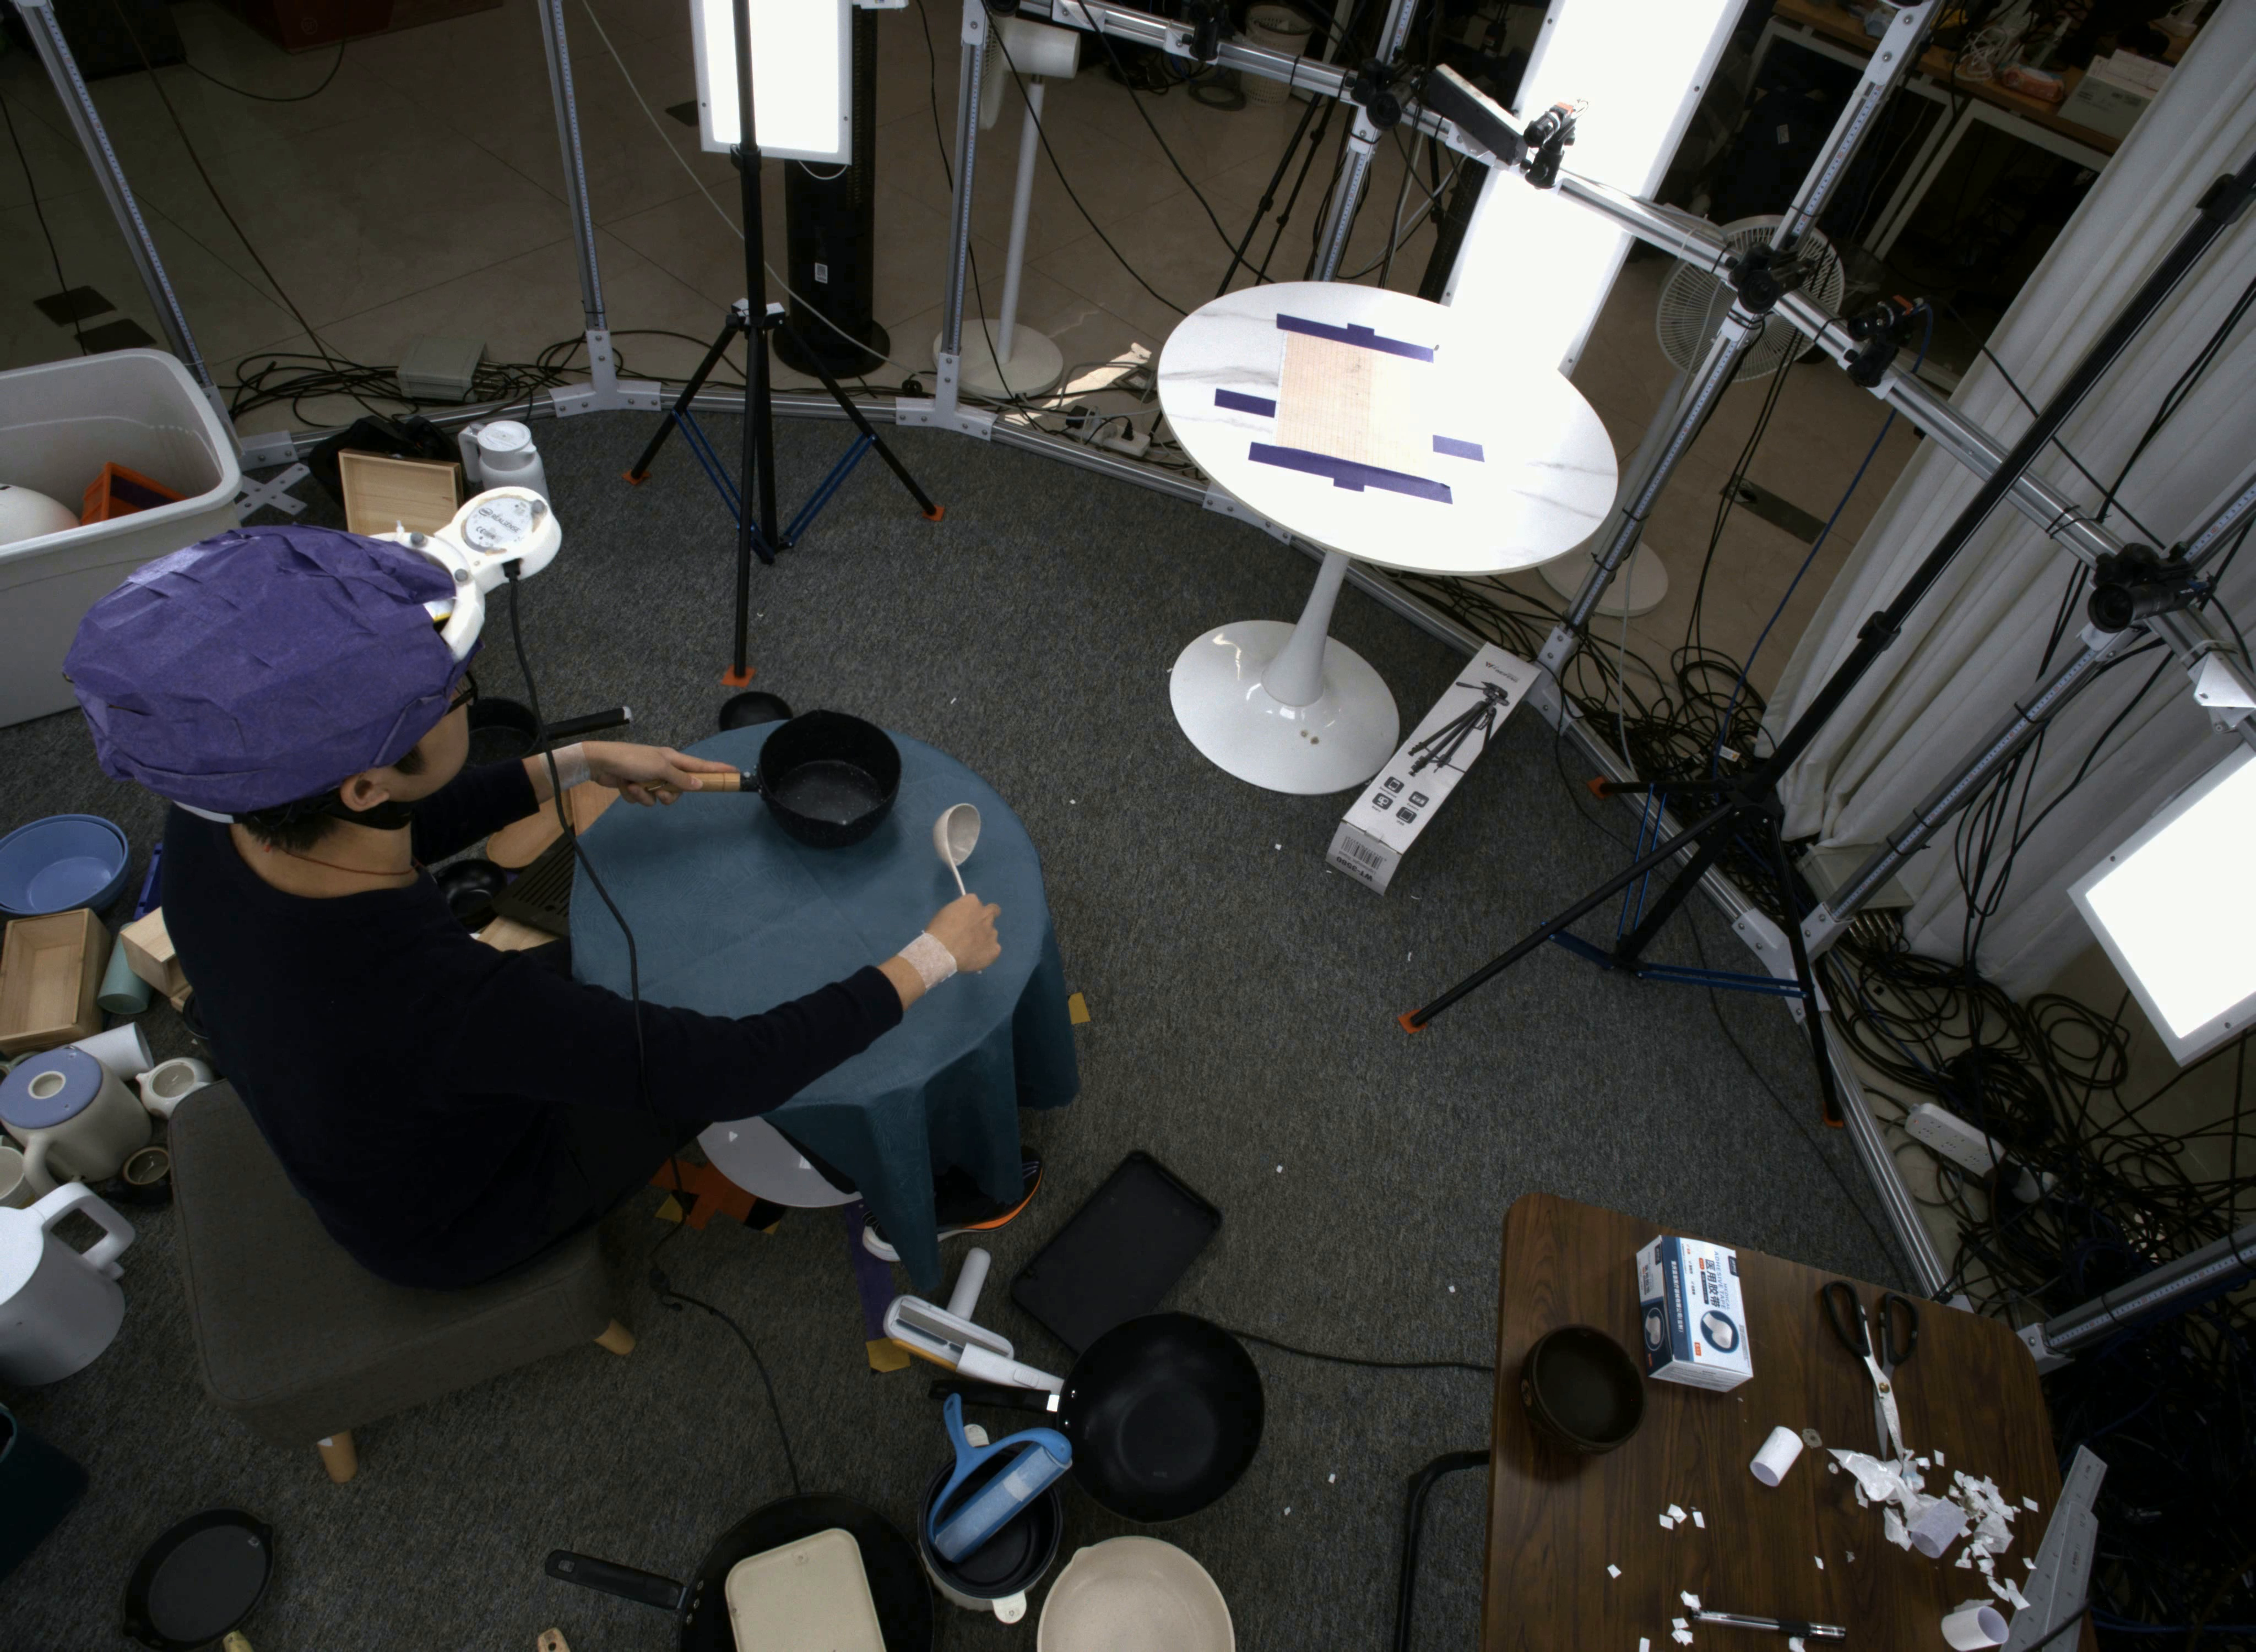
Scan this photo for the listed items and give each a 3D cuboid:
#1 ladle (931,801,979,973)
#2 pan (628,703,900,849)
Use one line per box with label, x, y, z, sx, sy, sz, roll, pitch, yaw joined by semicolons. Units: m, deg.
ladle;-0.189;0.074;1.606;0.069;0.092;0.266;-11;43;-14
pan;-0.466;-0.052;1.667;0.345;0.110;0.202;-9;57;-24
